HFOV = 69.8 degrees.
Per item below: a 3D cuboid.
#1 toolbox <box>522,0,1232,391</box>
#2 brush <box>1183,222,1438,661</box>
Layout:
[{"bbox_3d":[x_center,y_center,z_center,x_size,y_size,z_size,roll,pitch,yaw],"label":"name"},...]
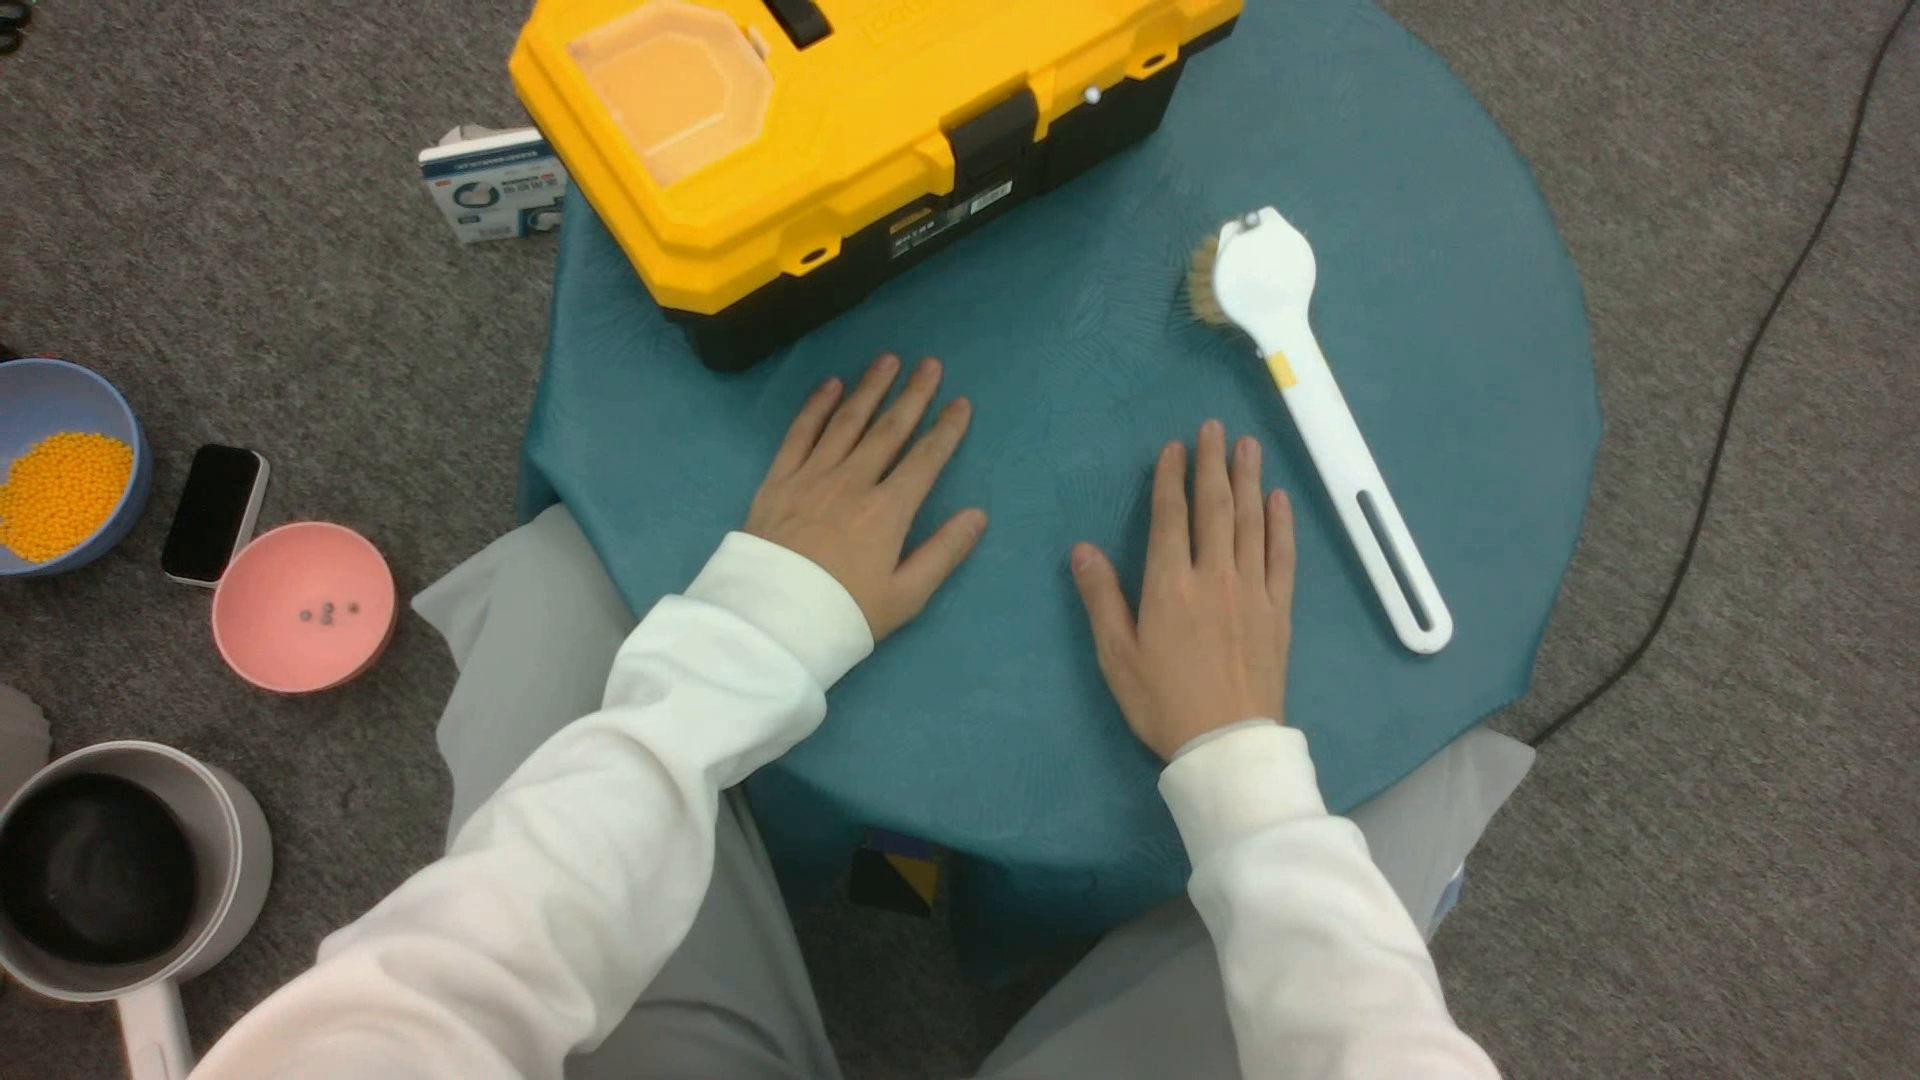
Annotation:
[{"bbox_3d":[-0.035,-0.237,0.744,0.352,0.172,0.181,-34,77,-12],"label":"toolbox"},{"bbox_3d":[0.203,-0.057,0.787,0.068,0.056,0.266,-24,91,9],"label":"brush"}]
